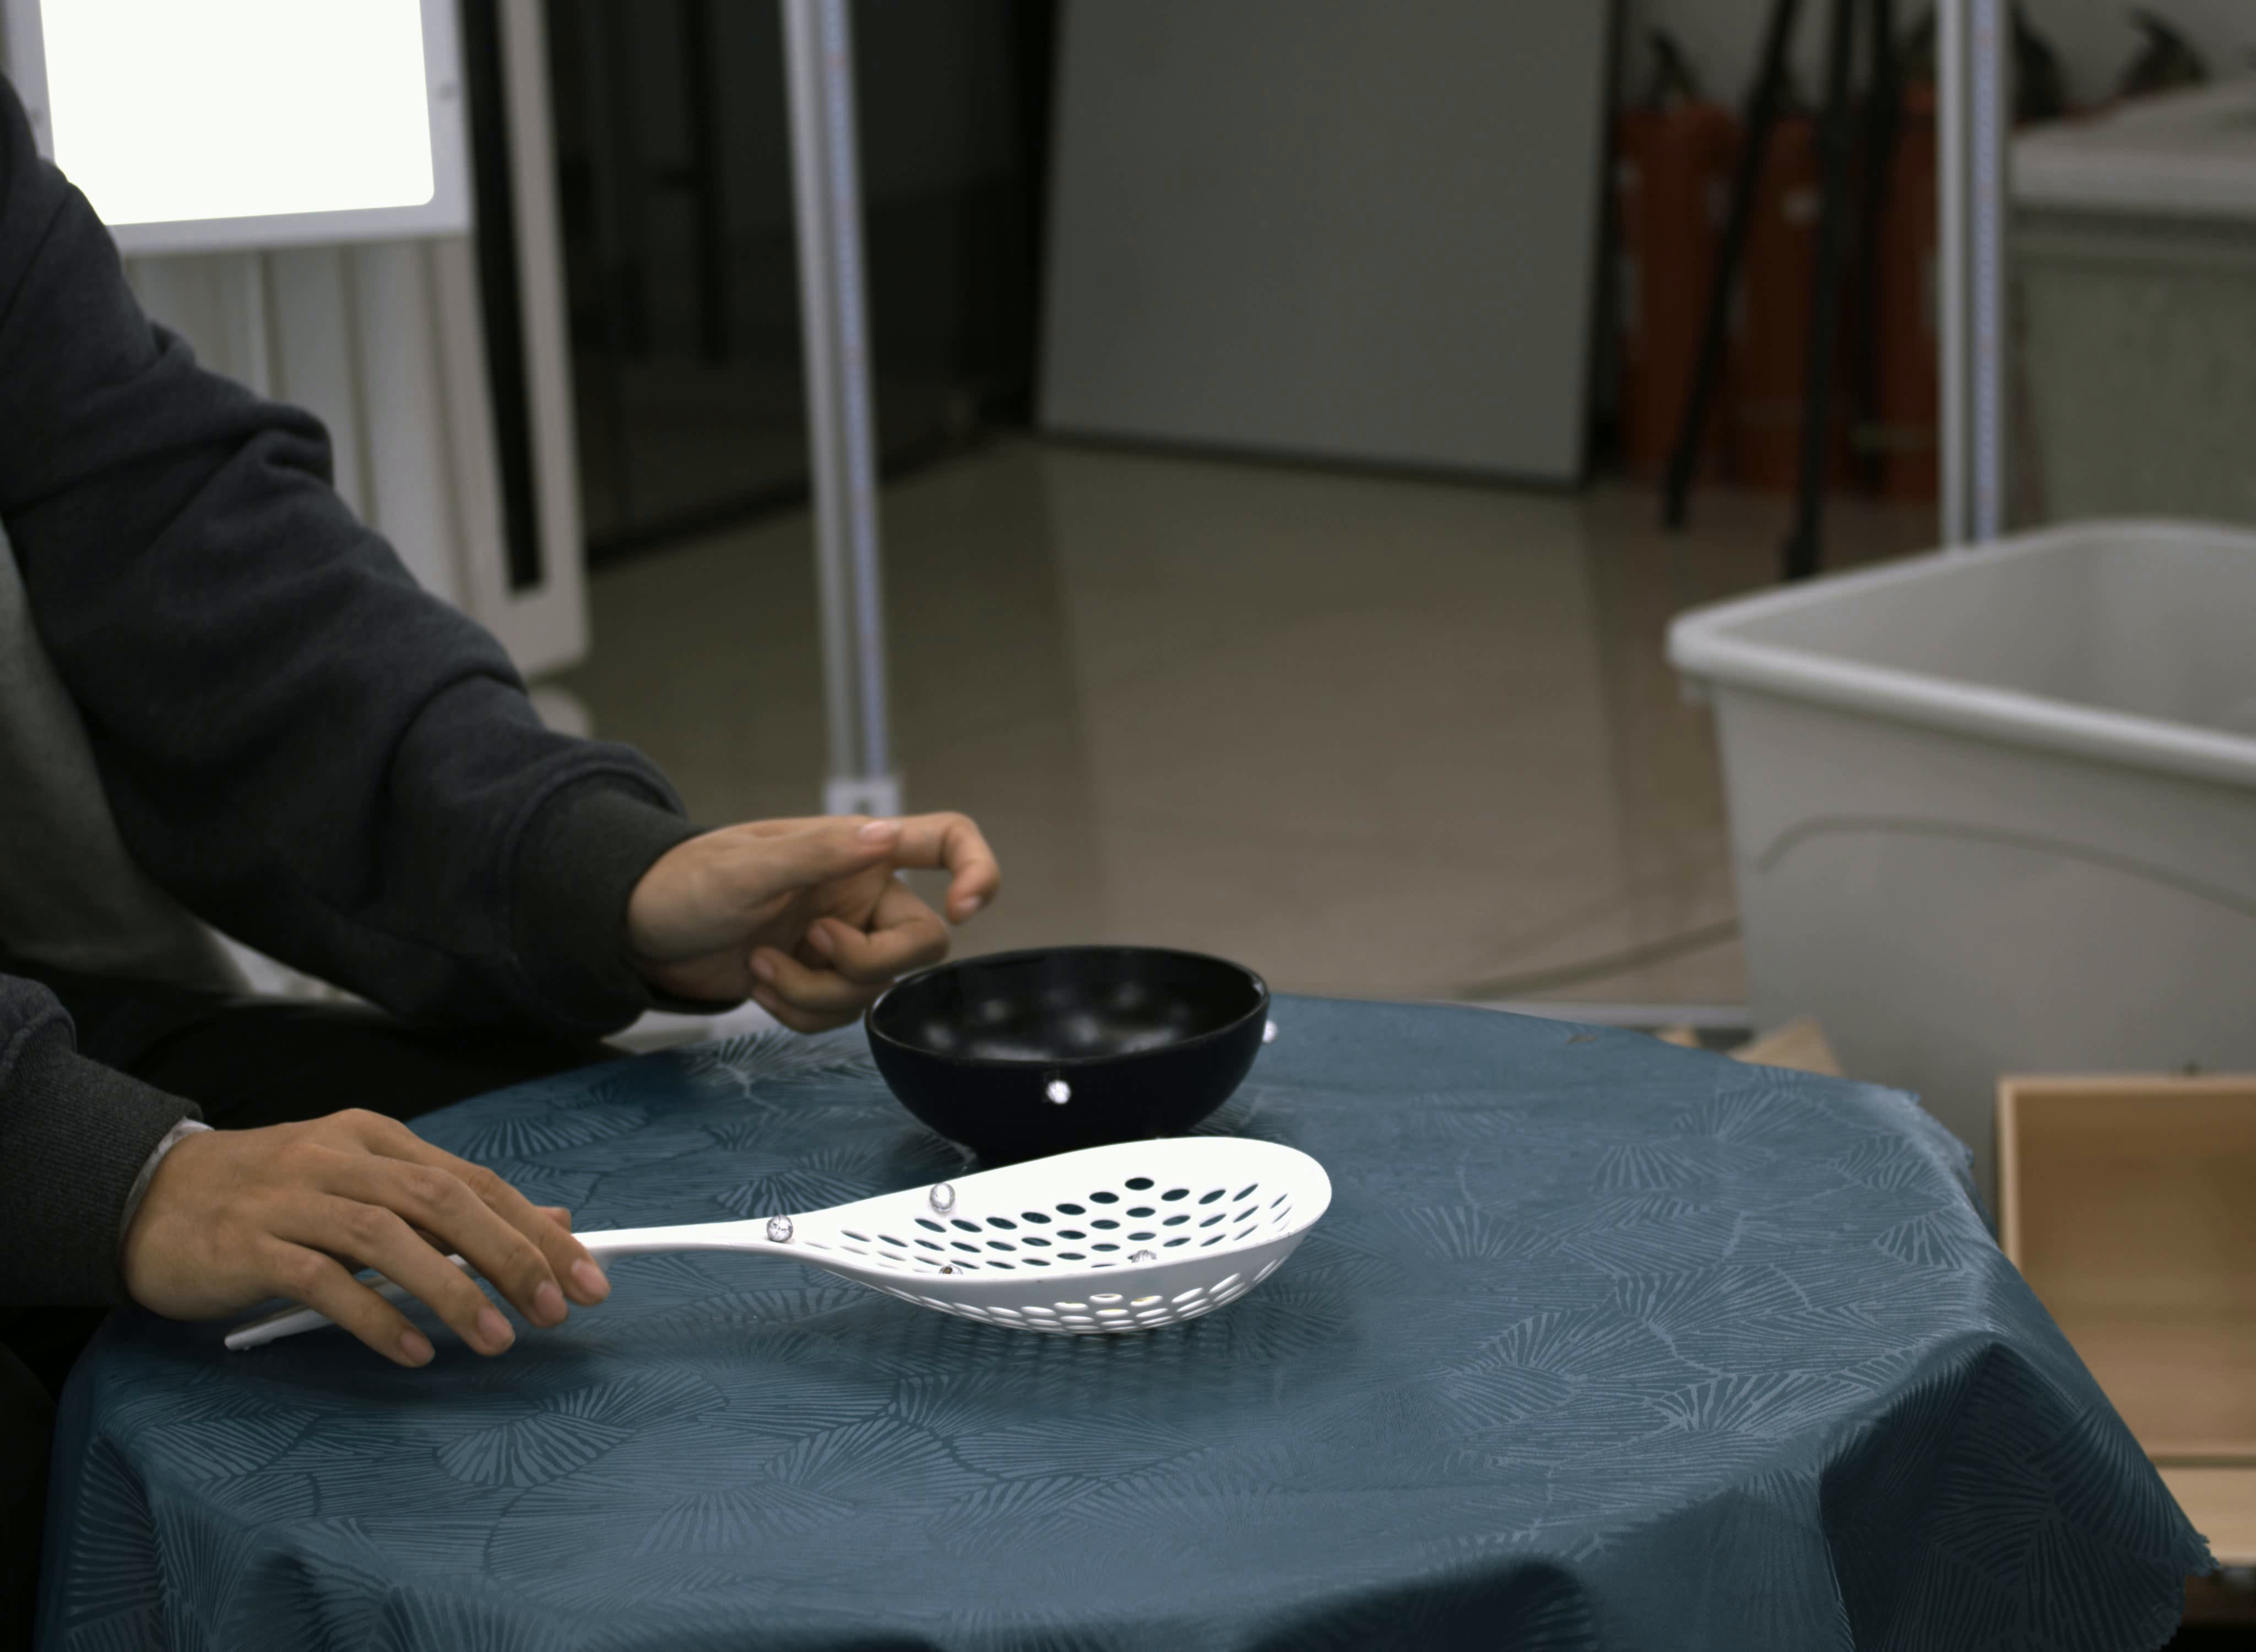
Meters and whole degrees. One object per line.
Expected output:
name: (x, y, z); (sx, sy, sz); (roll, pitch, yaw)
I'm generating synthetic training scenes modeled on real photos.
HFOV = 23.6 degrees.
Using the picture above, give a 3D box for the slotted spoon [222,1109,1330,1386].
slotted spoon: (-0.108, 0.136, 1.653); (0.344, 0.051, 0.136); (-3, 15, 5)
